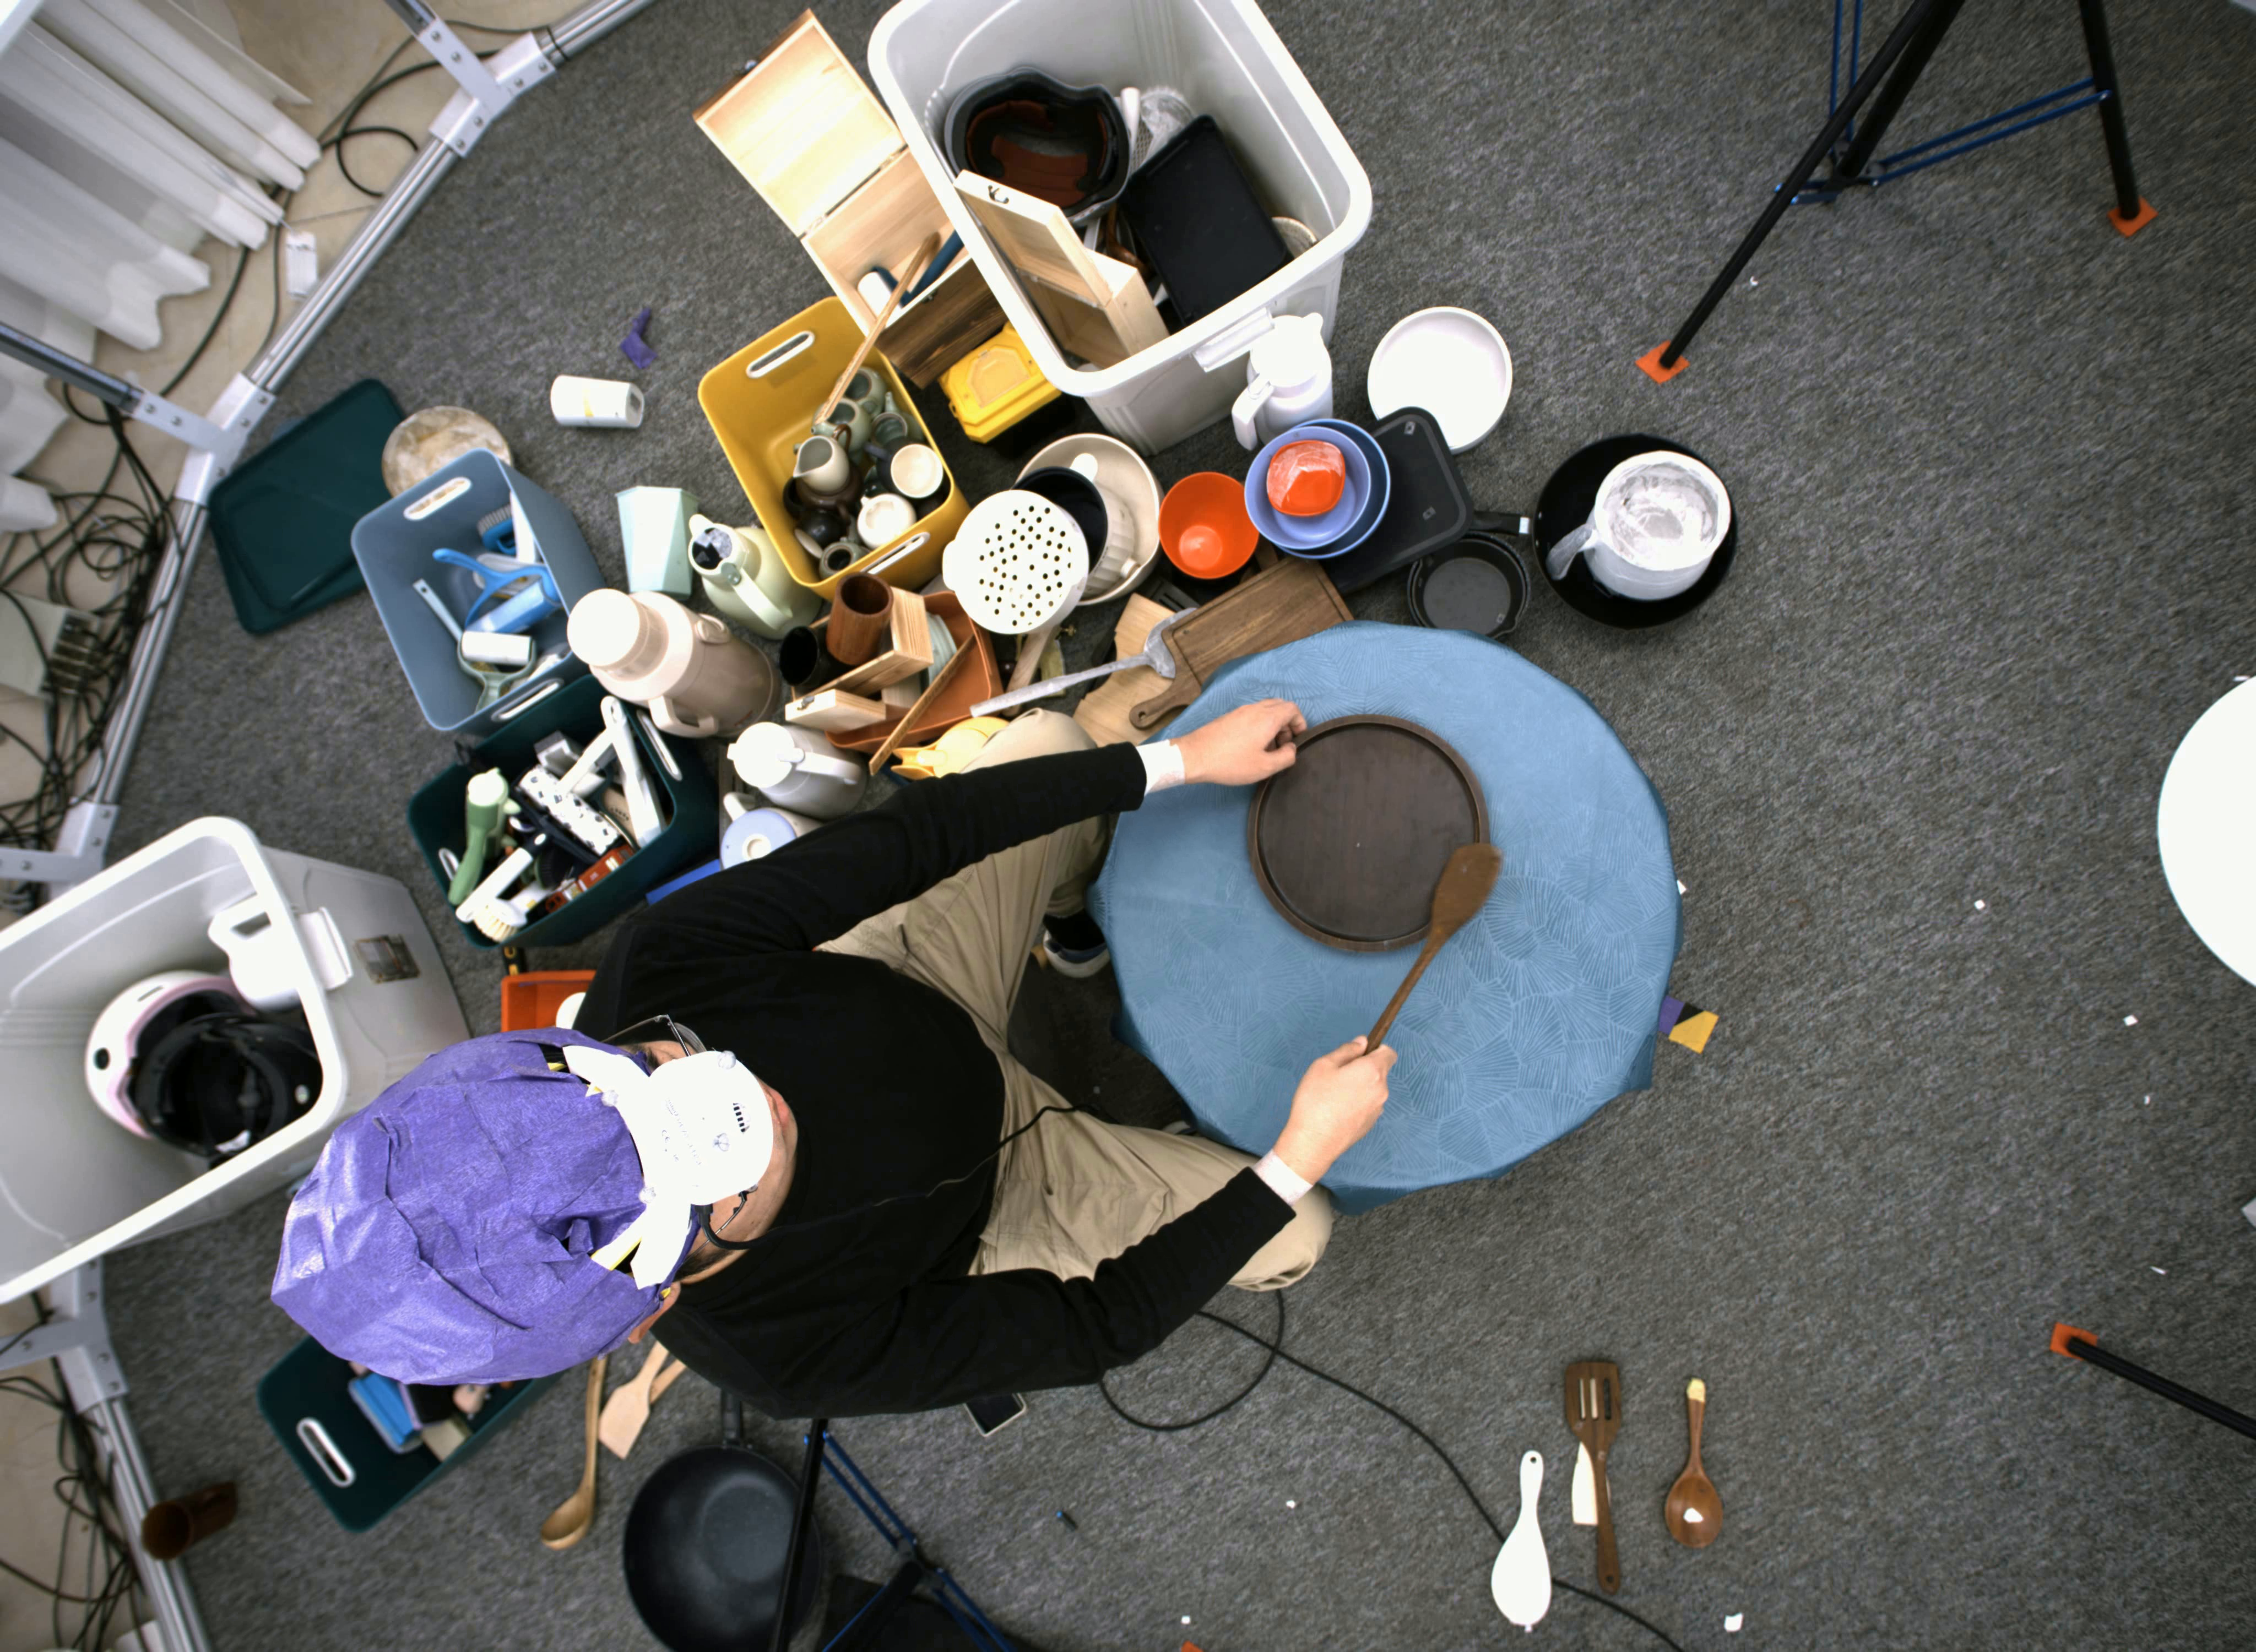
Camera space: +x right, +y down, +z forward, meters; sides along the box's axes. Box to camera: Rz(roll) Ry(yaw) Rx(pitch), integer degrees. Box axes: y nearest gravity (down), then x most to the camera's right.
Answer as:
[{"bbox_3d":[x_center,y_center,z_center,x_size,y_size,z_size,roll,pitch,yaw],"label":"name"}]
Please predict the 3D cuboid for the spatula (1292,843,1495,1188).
[{"bbox_3d":[0.255,0.179,1.350,0.016,0.096,0.383,33,82,-12],"label":"spatula"}]

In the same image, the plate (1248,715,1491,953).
[{"bbox_3d":[0.253,0.007,1.455,0.256,0.029,0.254,-1,88,10],"label":"plate"}]
